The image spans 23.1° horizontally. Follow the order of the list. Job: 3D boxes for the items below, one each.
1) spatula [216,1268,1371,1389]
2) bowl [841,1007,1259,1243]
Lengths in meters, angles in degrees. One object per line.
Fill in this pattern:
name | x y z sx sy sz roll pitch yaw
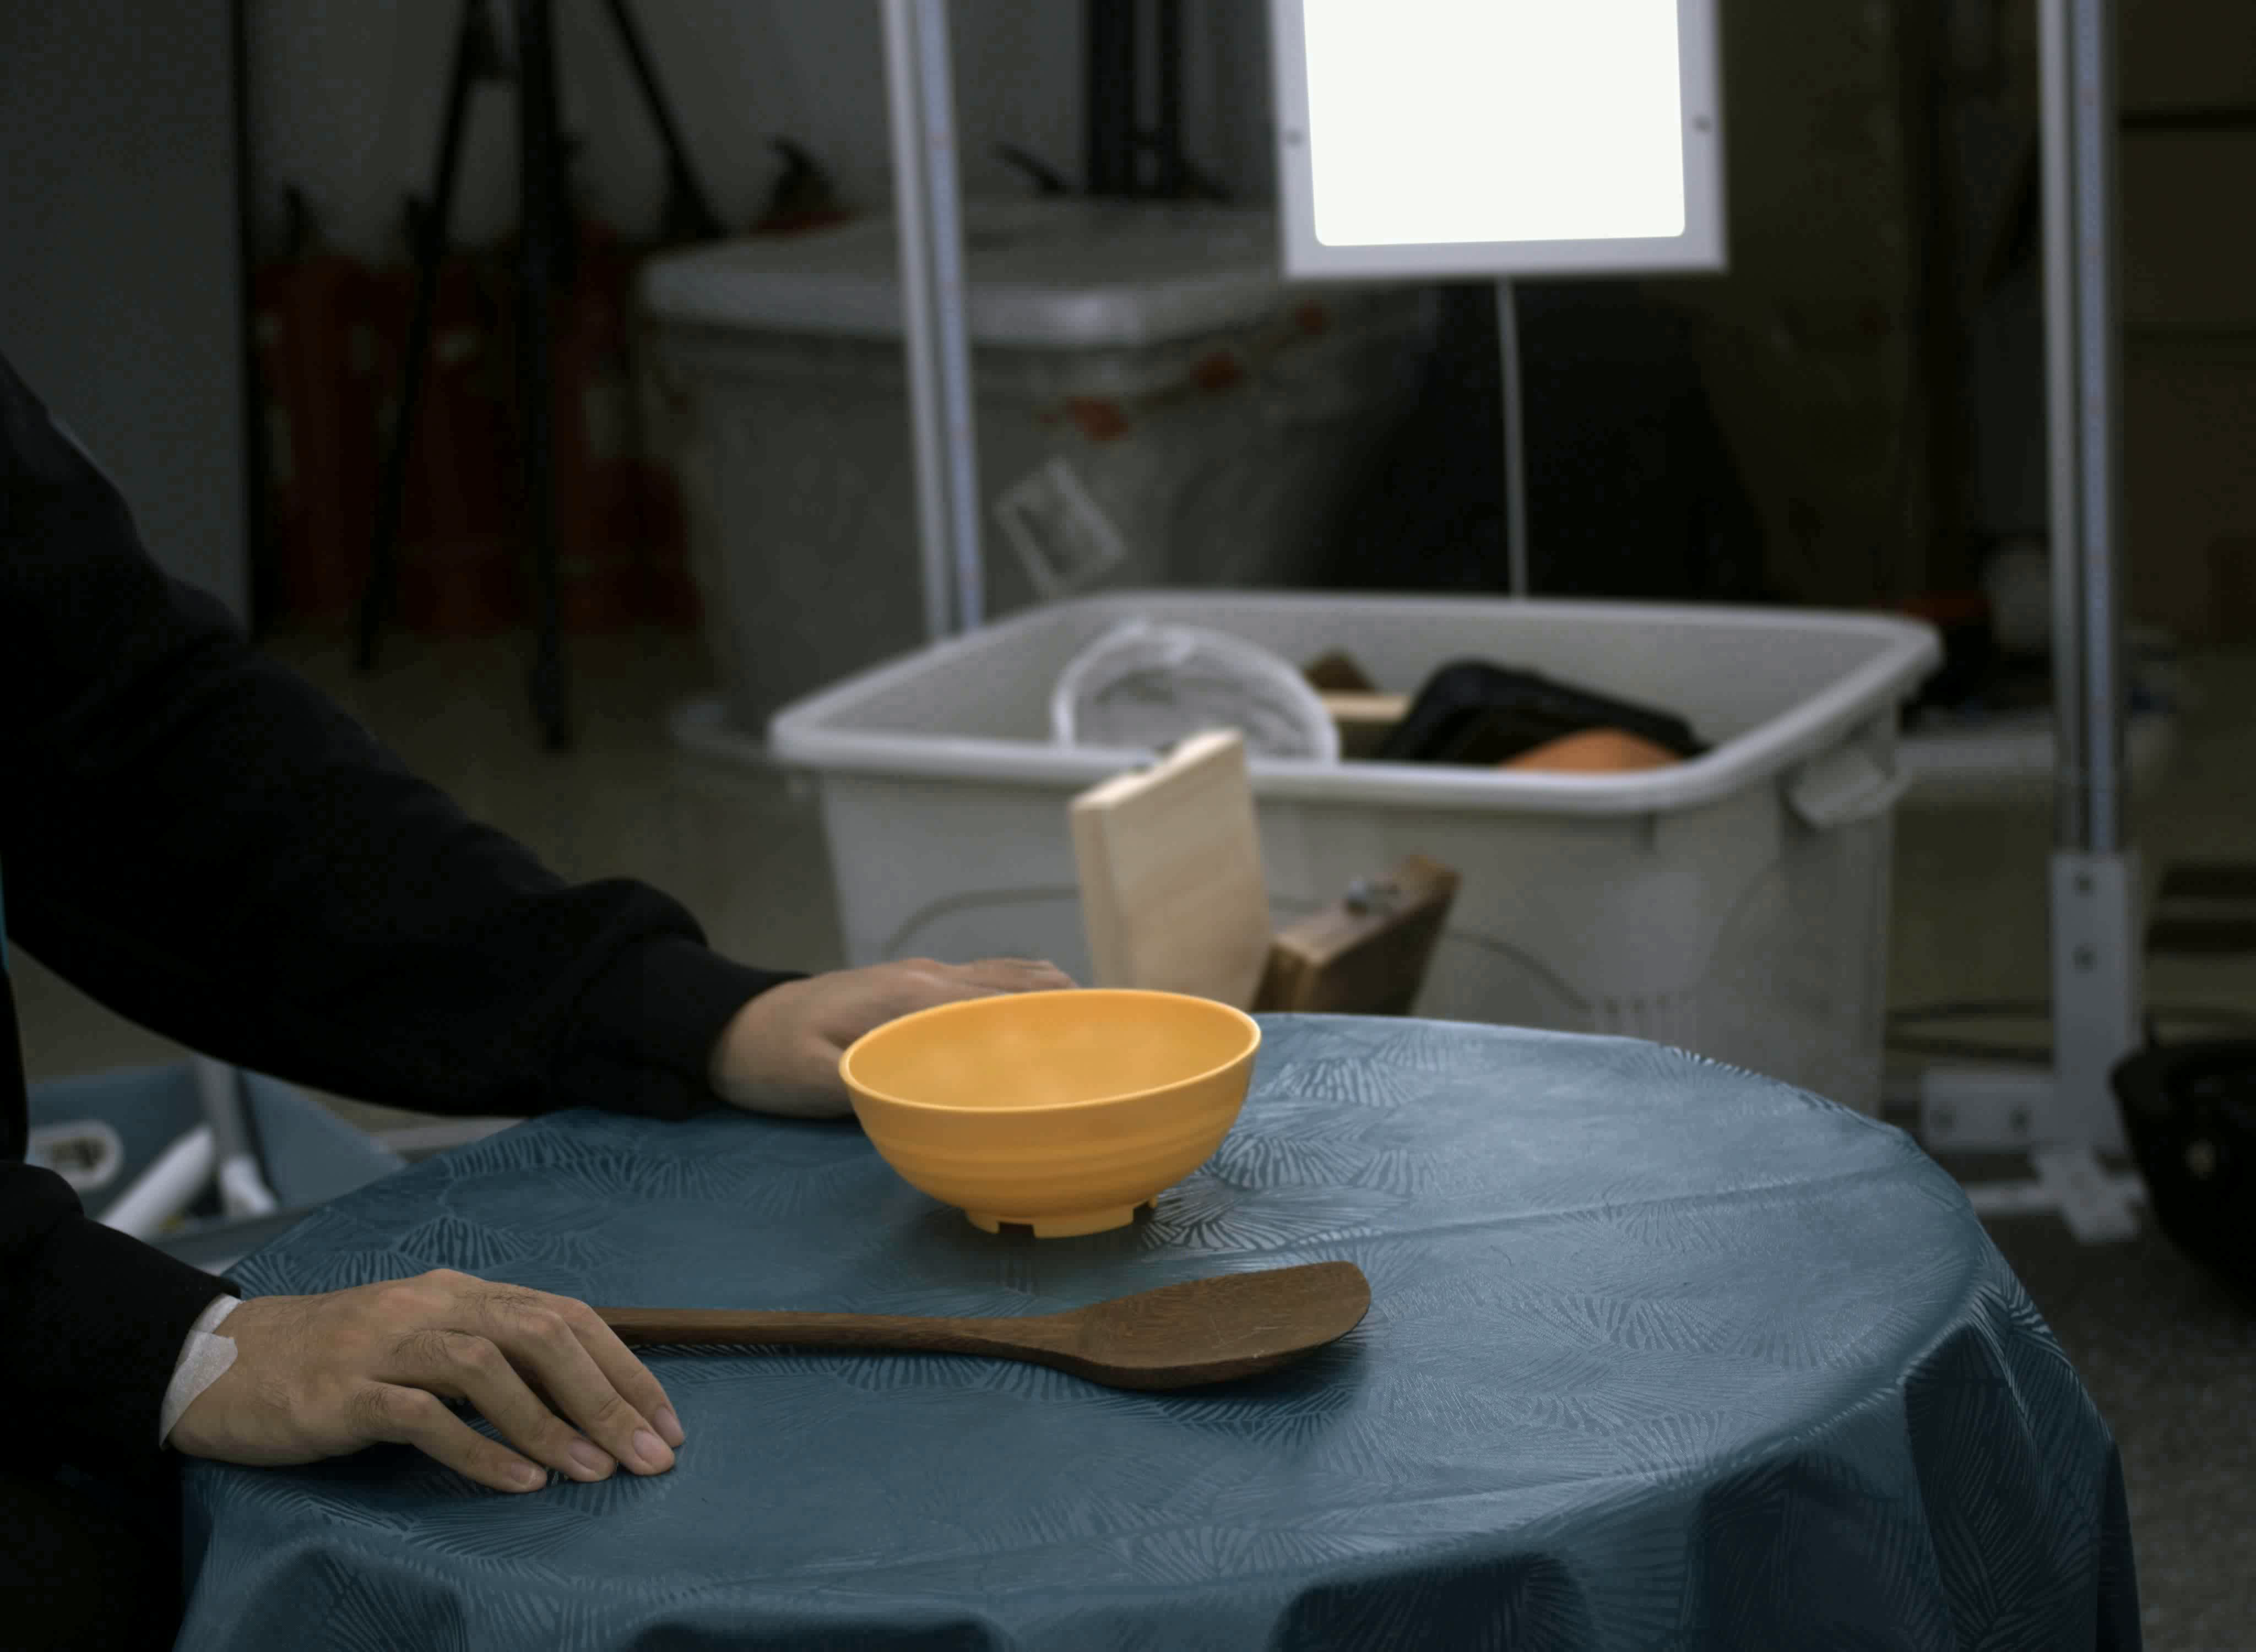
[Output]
spatula | -0.112 0.161 1.768 0.390 0.016 0.095 -1 14 15
bowl | -0.025 0.105 1.879 0.145 0.060 0.145 -5 11 0
